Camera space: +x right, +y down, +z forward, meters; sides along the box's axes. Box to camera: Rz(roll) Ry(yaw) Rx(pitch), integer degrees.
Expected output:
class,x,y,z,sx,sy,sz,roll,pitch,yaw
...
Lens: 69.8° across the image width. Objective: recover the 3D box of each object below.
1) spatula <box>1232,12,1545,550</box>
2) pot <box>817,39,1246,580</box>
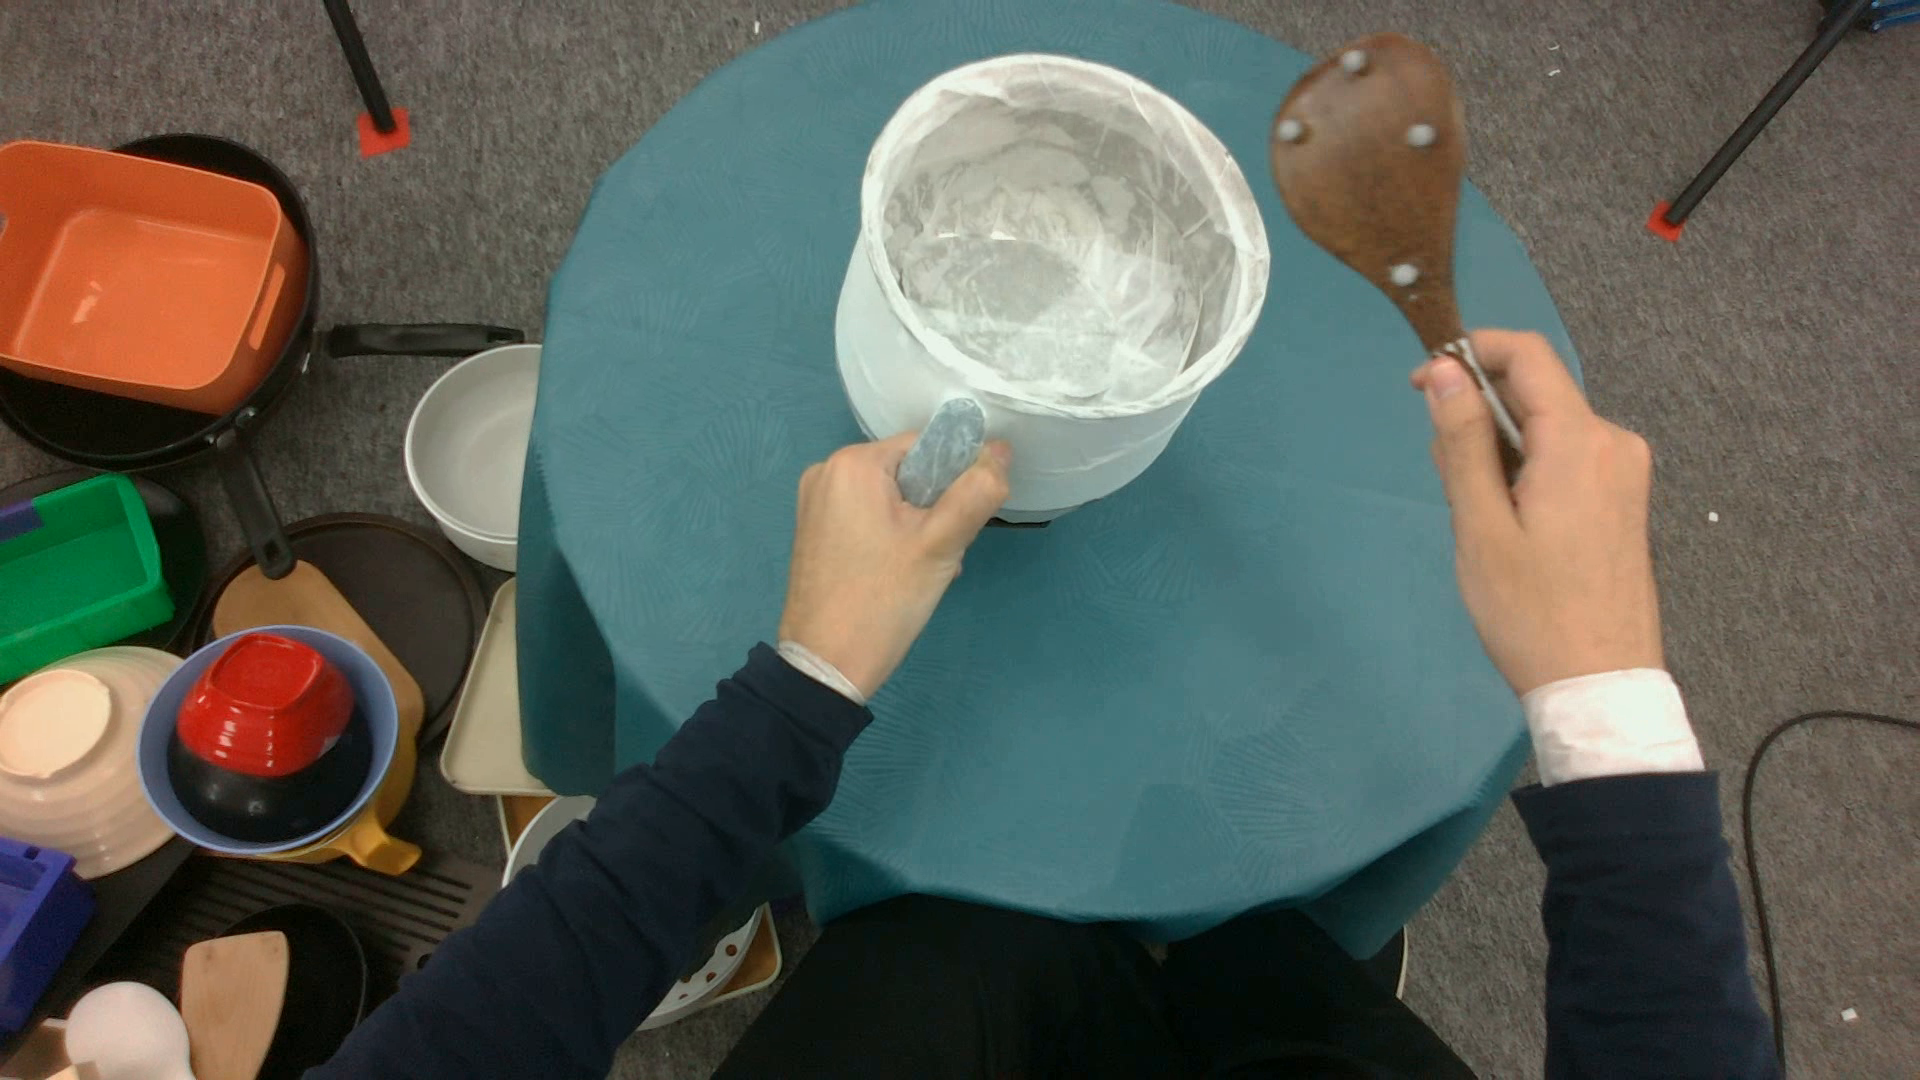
class,x,y,z,sx,sy,sz,roll,pitch,yaw
spatula,0.163,-0.094,0.515,0.009,0.071,0.216,-17,81,-44
pot,0.014,-0.095,0.625,0.179,0.136,0.234,26,64,1
